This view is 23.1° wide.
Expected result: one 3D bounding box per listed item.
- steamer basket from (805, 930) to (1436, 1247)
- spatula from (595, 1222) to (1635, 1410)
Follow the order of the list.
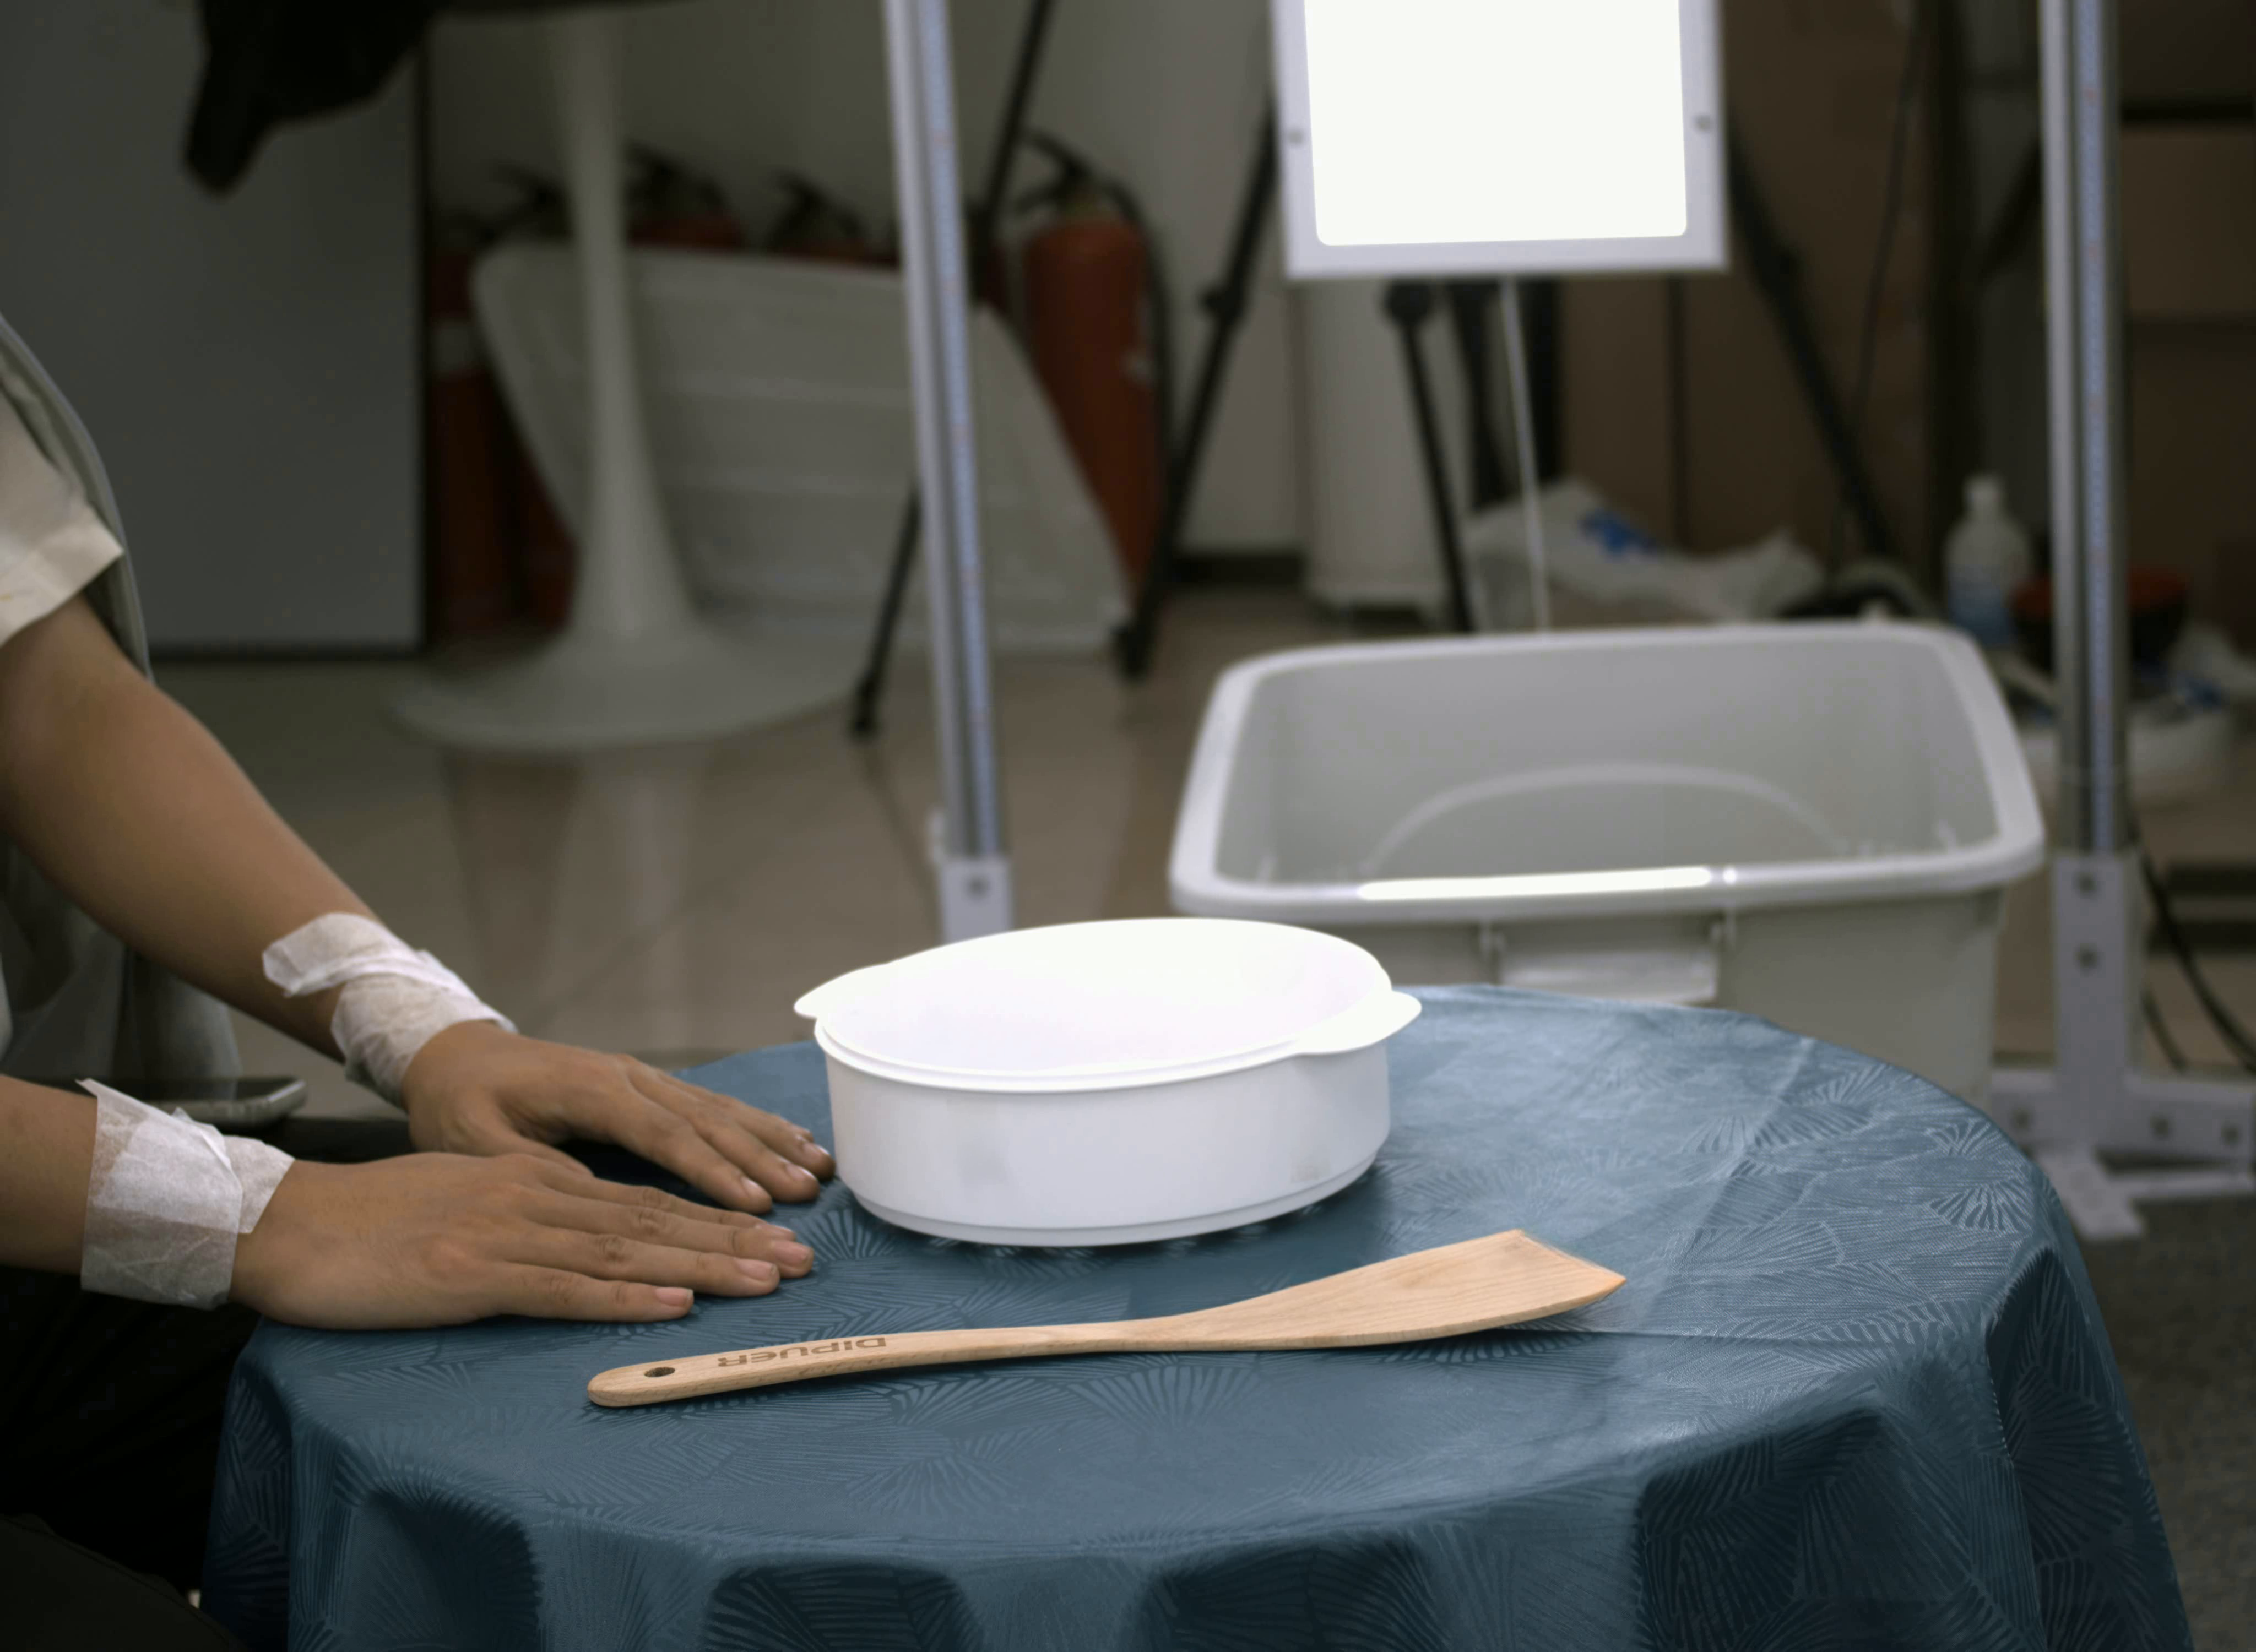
[{"bbox_3d":[-0.002,0.091,1.907,0.235,0.069,0.197,2,14,30],"label":"steamer basket"},{"bbox_3d":[-0.006,0.157,1.738,0.326,0.016,0.080,-6,13,-2],"label":"spatula"}]
